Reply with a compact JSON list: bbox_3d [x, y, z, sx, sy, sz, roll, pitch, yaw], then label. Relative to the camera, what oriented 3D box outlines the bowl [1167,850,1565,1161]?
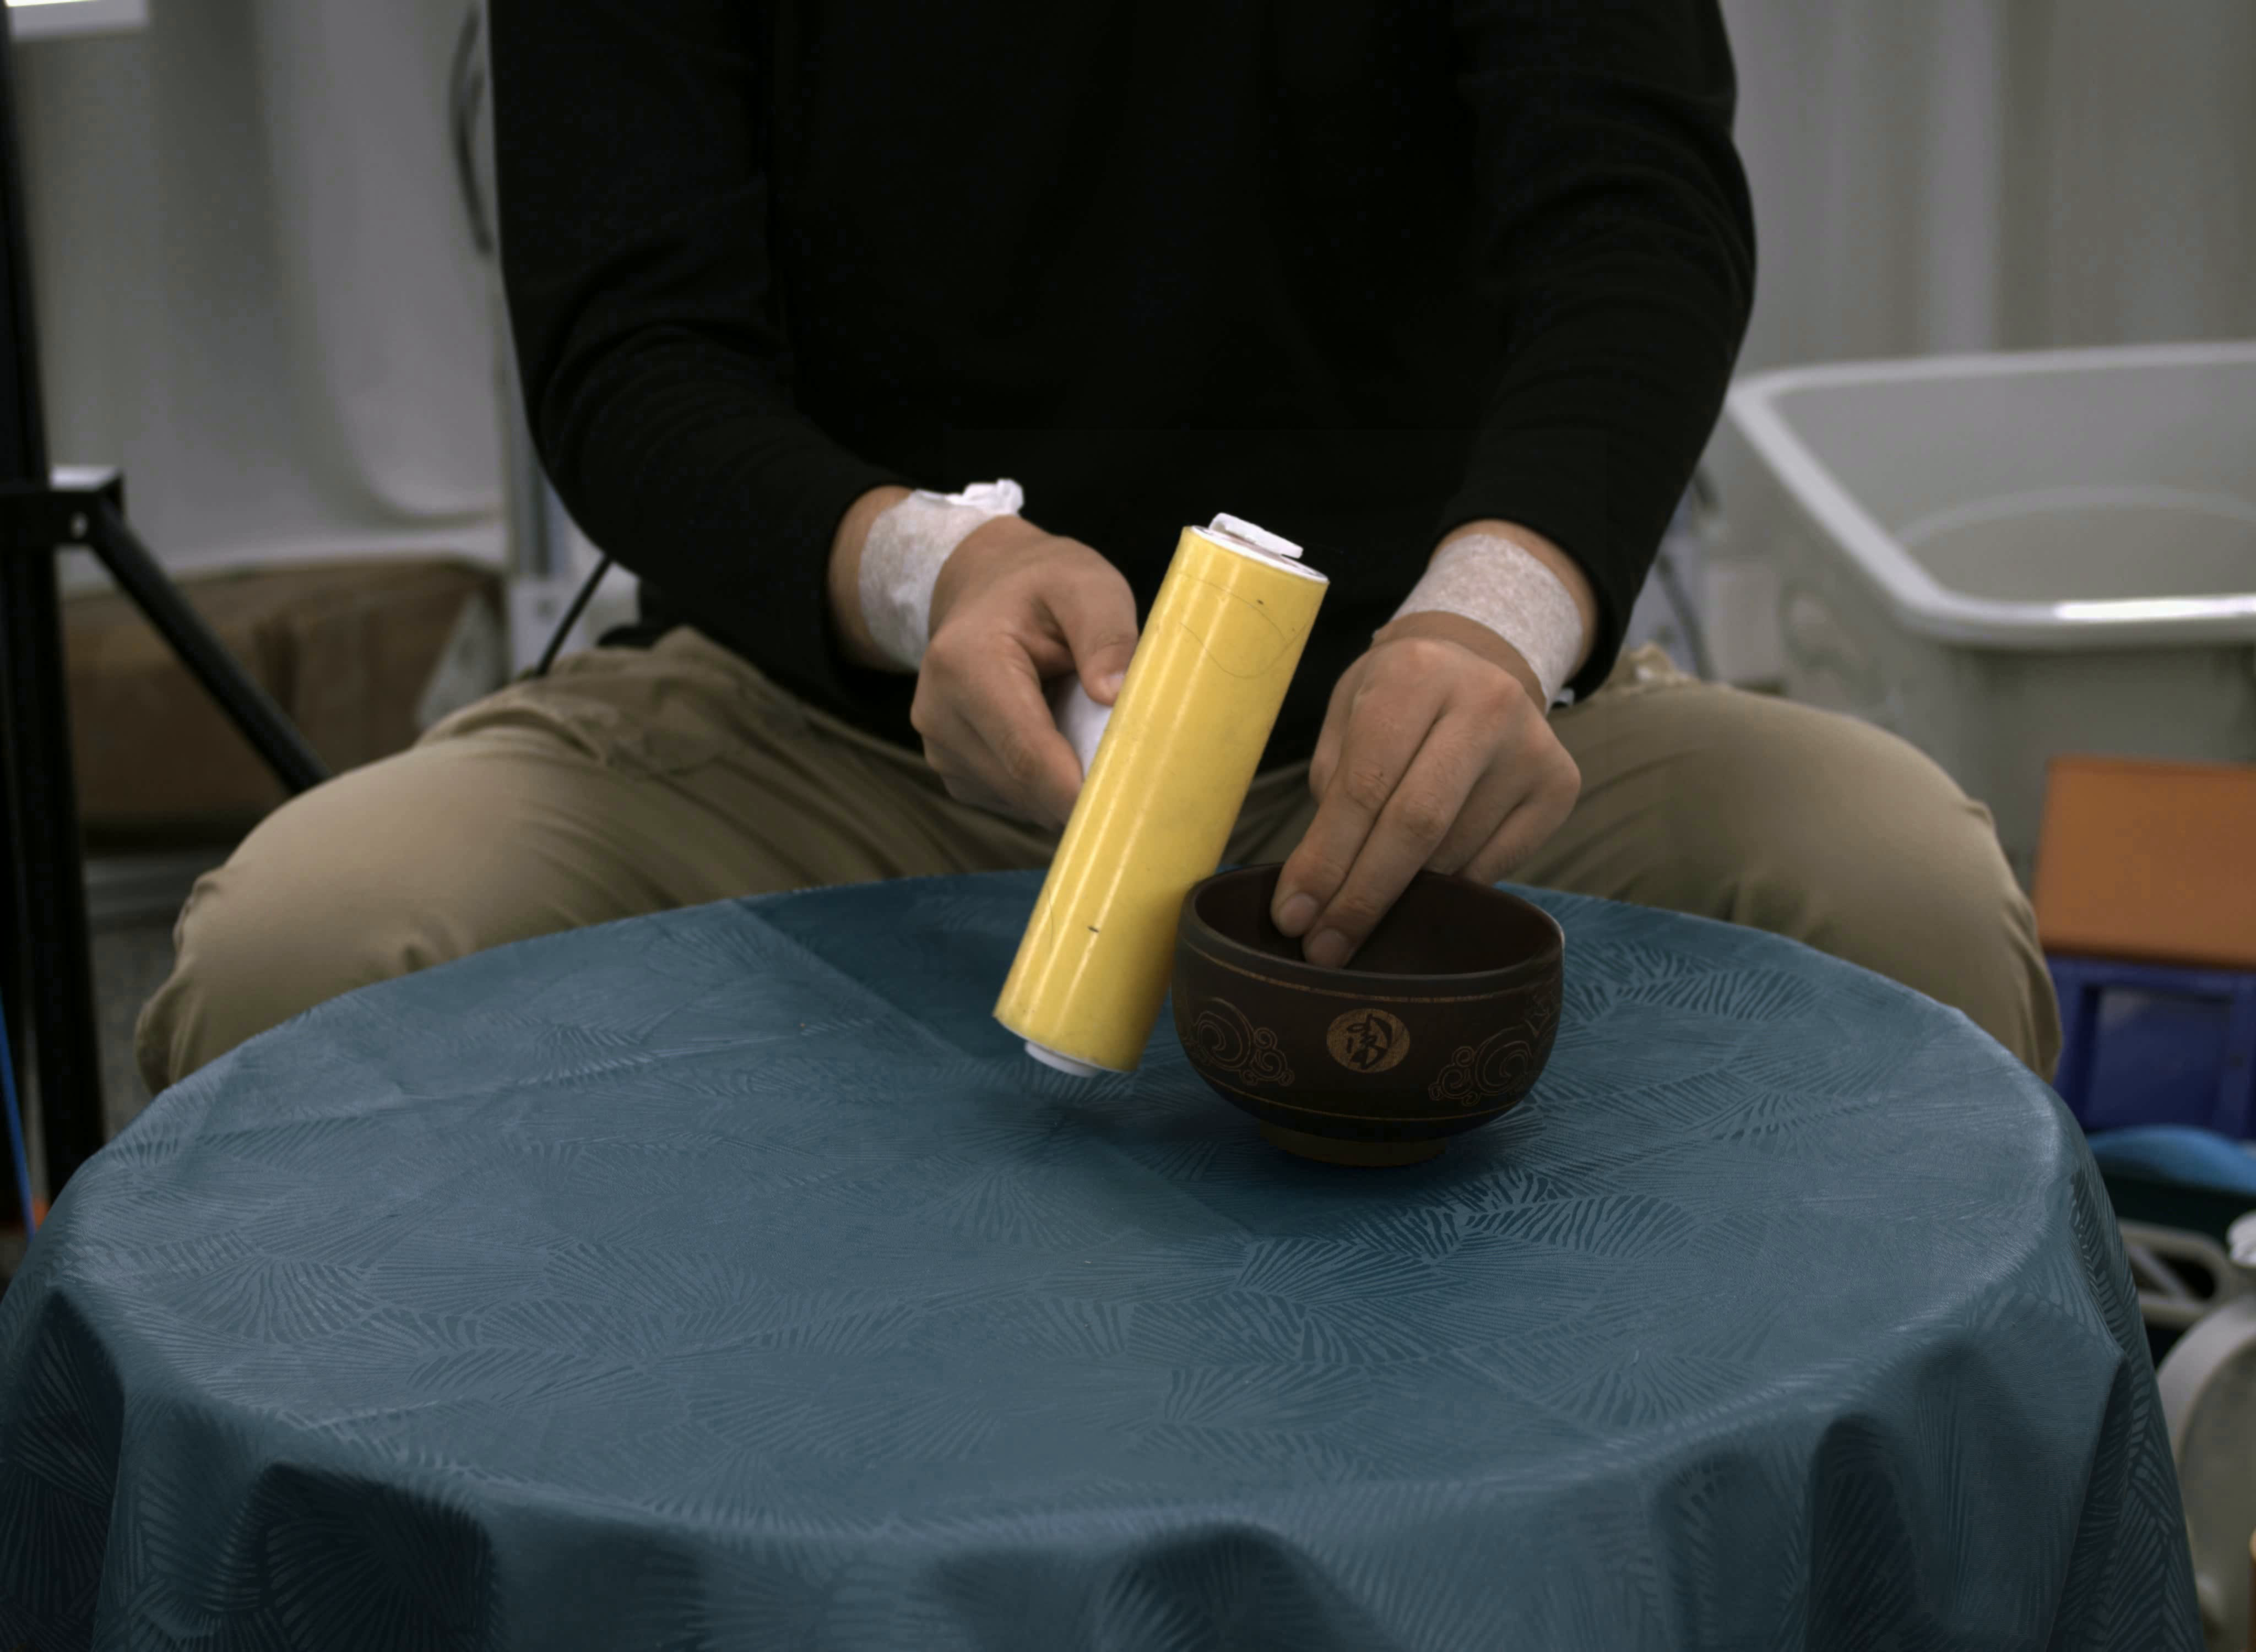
[{"bbox_3d":[0.069,0.058,1.578,0.117,0.070,0.118,5,16,-3],"label":"bowl"}]

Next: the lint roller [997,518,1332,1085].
[{"bbox_3d":[-0.016,-0.022,1.667,0.050,0.175,0.195,19,6,-26],"label":"lint roller"}]
